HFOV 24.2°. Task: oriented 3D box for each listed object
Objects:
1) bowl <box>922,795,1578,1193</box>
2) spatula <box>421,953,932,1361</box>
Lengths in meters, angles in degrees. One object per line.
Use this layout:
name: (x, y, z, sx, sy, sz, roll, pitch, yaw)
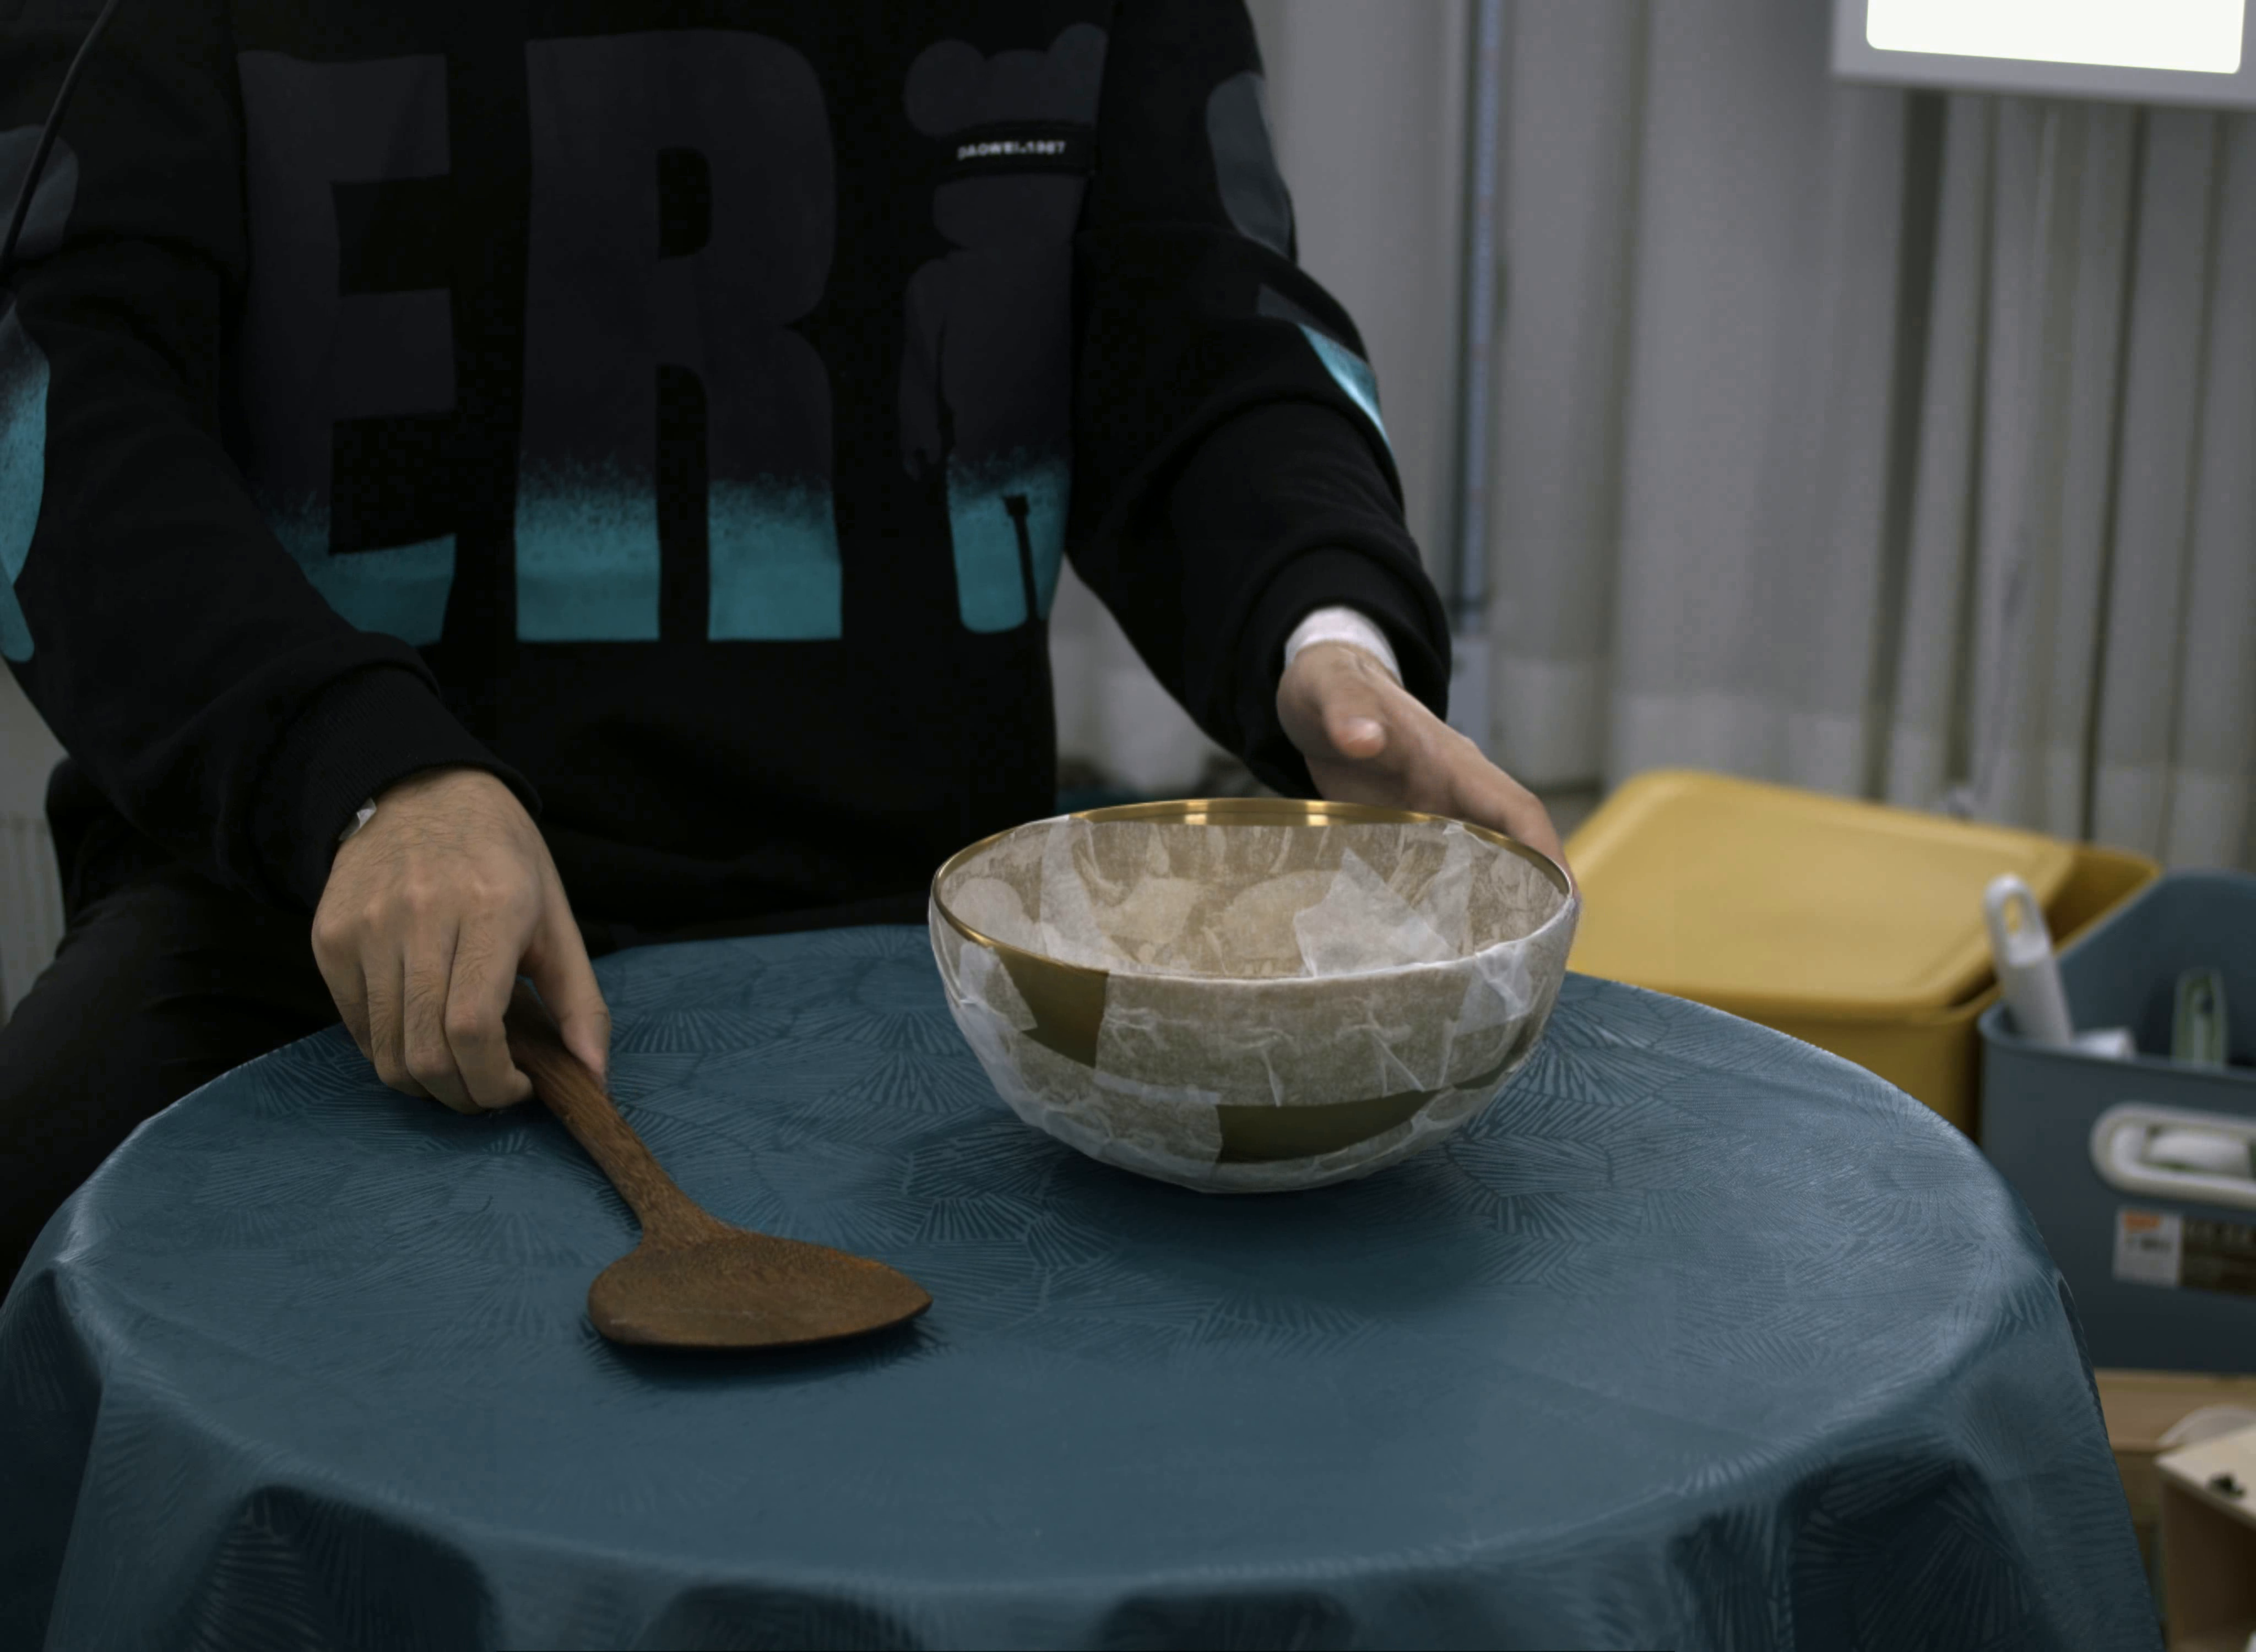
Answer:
bowl: (0.040, 0.059, 1.646, 0.214, 0.095, 0.213, -1, 15, 1)
spatula: (-0.163, 0.096, 1.642, 0.096, 0.016, 0.381, -5, 18, -21)
